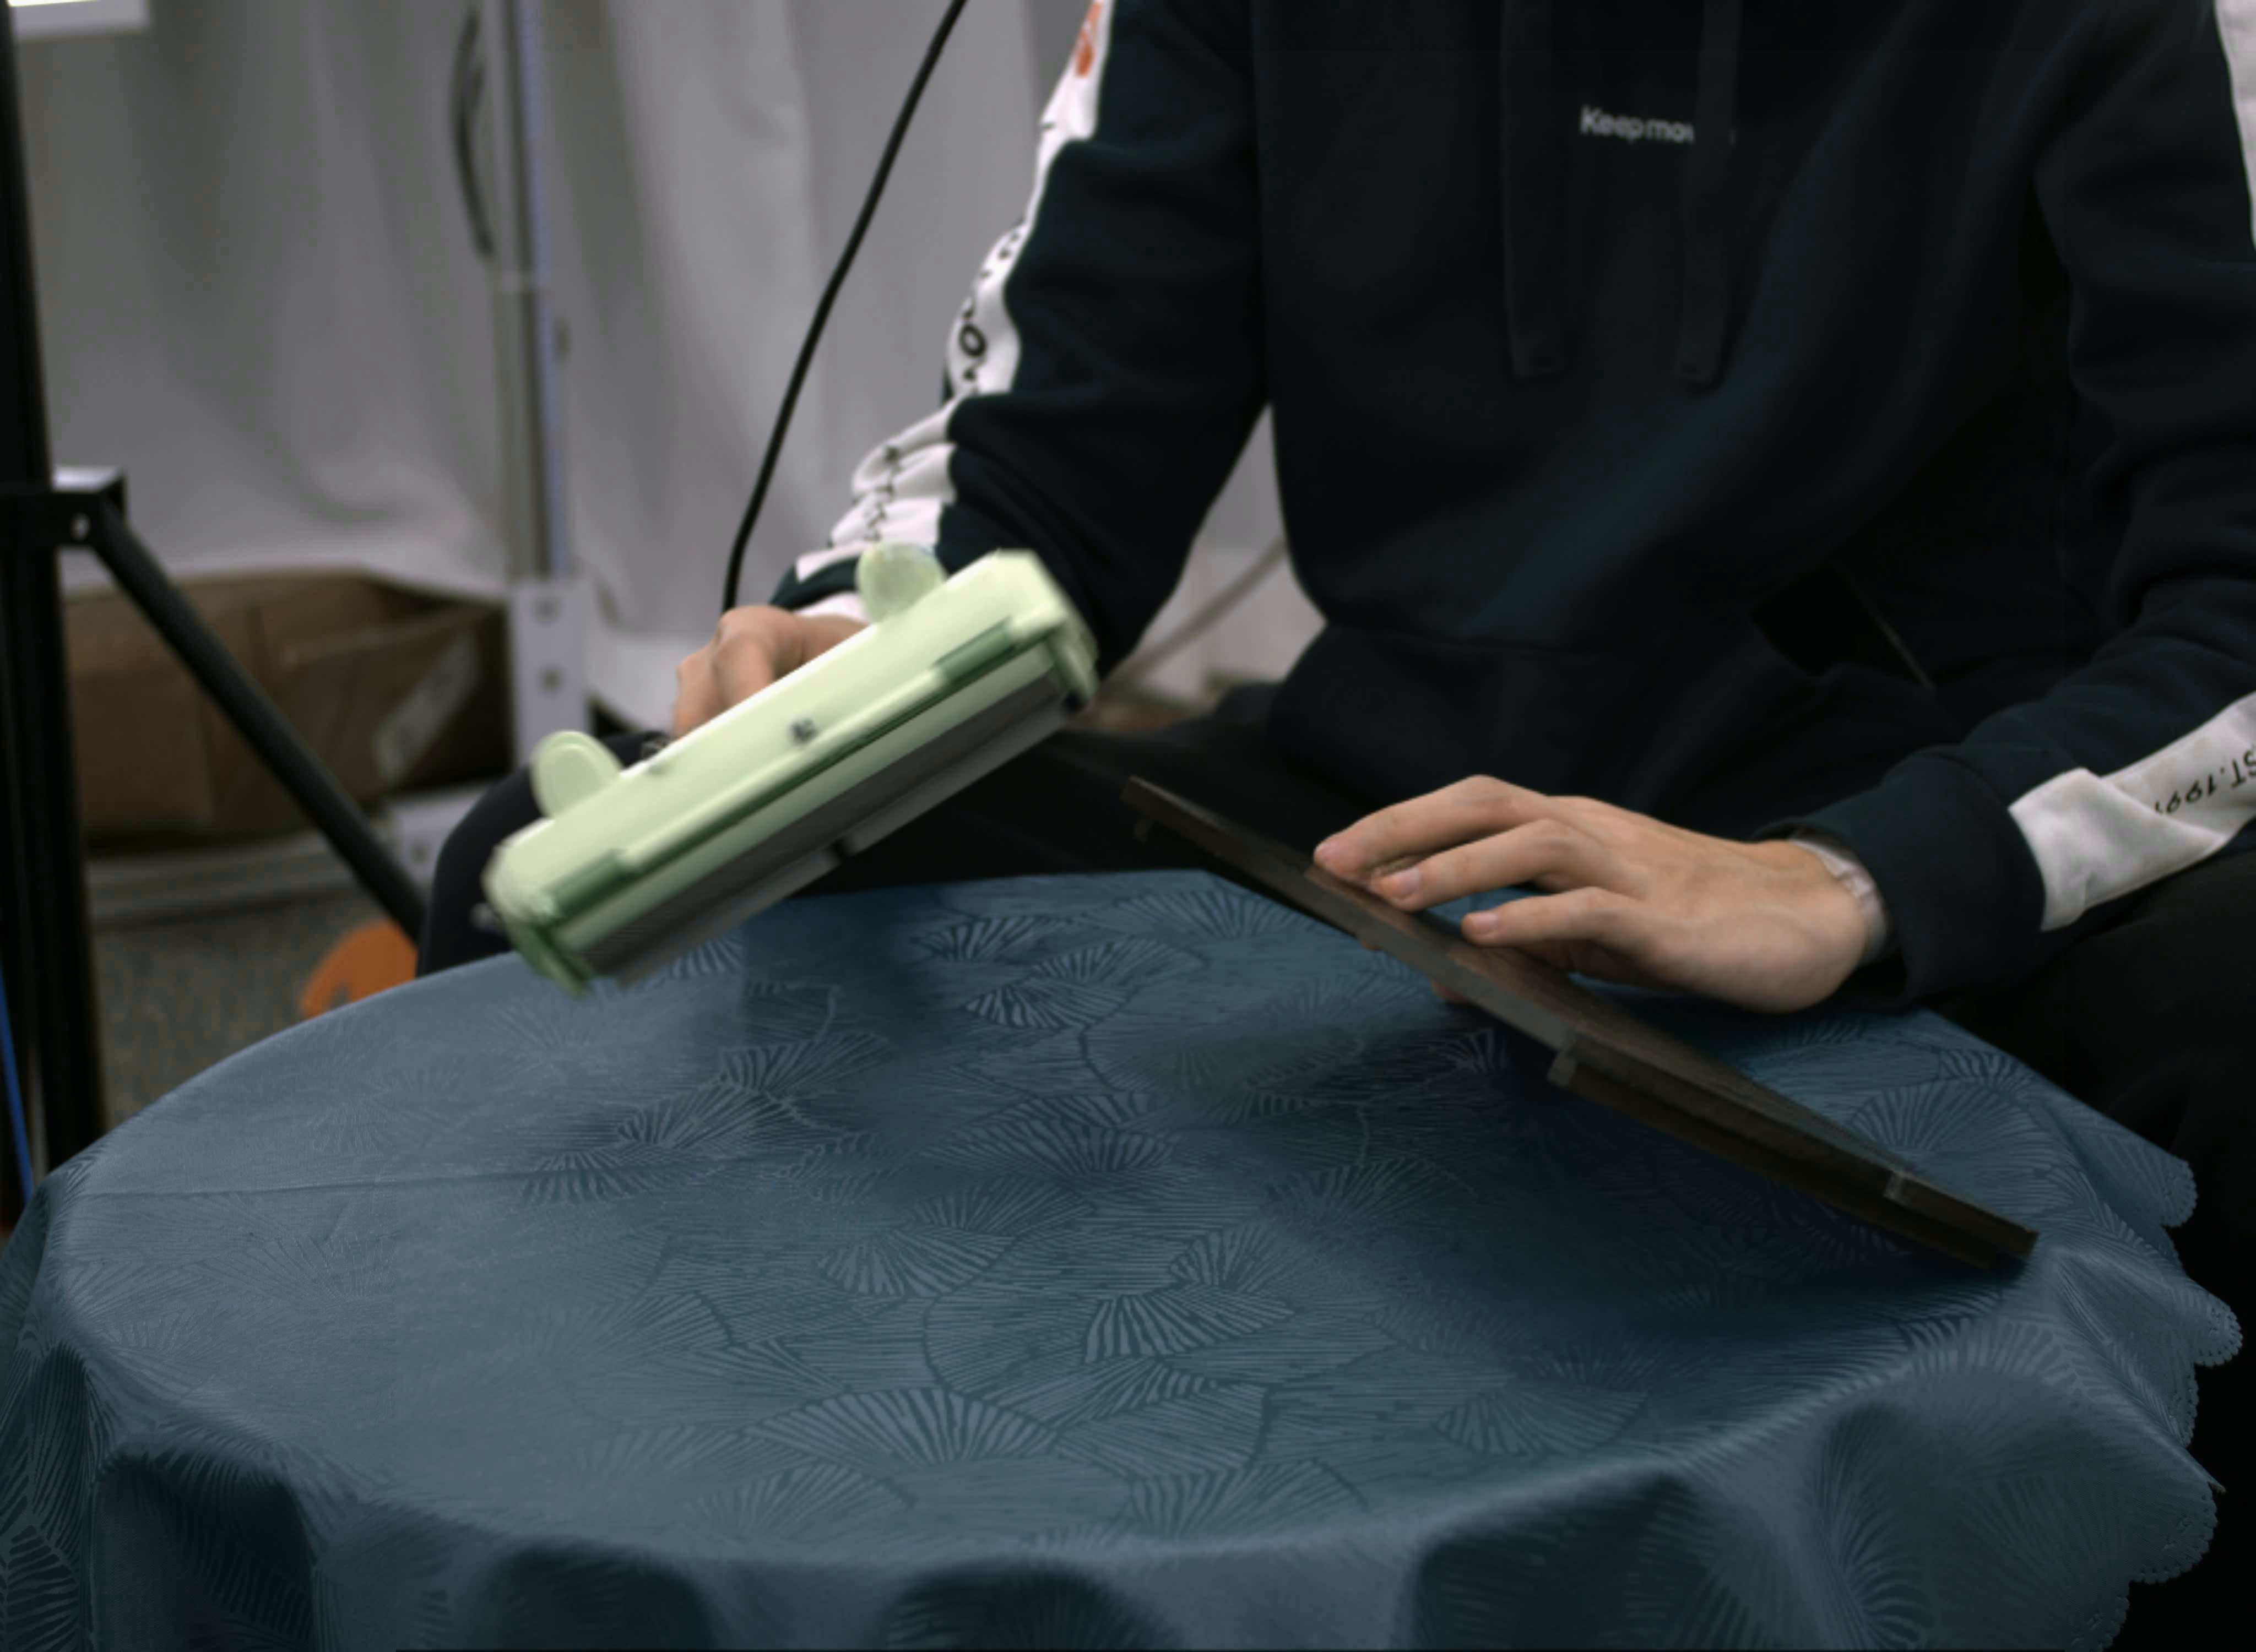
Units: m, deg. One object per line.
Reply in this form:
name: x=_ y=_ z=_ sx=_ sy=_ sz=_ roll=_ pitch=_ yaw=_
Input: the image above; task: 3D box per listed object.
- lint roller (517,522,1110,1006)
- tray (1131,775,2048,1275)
lint roller: x=-0.108 y=-0.036 z=1.686 sx=0.198 sy=0.081 sz=0.185 roll=-34 pitch=16 yaw=0
tray: x=0.126 y=0.057 z=1.548 sx=0.166 sy=0.018 sz=0.312 roll=25 pitch=2 yaw=-28
